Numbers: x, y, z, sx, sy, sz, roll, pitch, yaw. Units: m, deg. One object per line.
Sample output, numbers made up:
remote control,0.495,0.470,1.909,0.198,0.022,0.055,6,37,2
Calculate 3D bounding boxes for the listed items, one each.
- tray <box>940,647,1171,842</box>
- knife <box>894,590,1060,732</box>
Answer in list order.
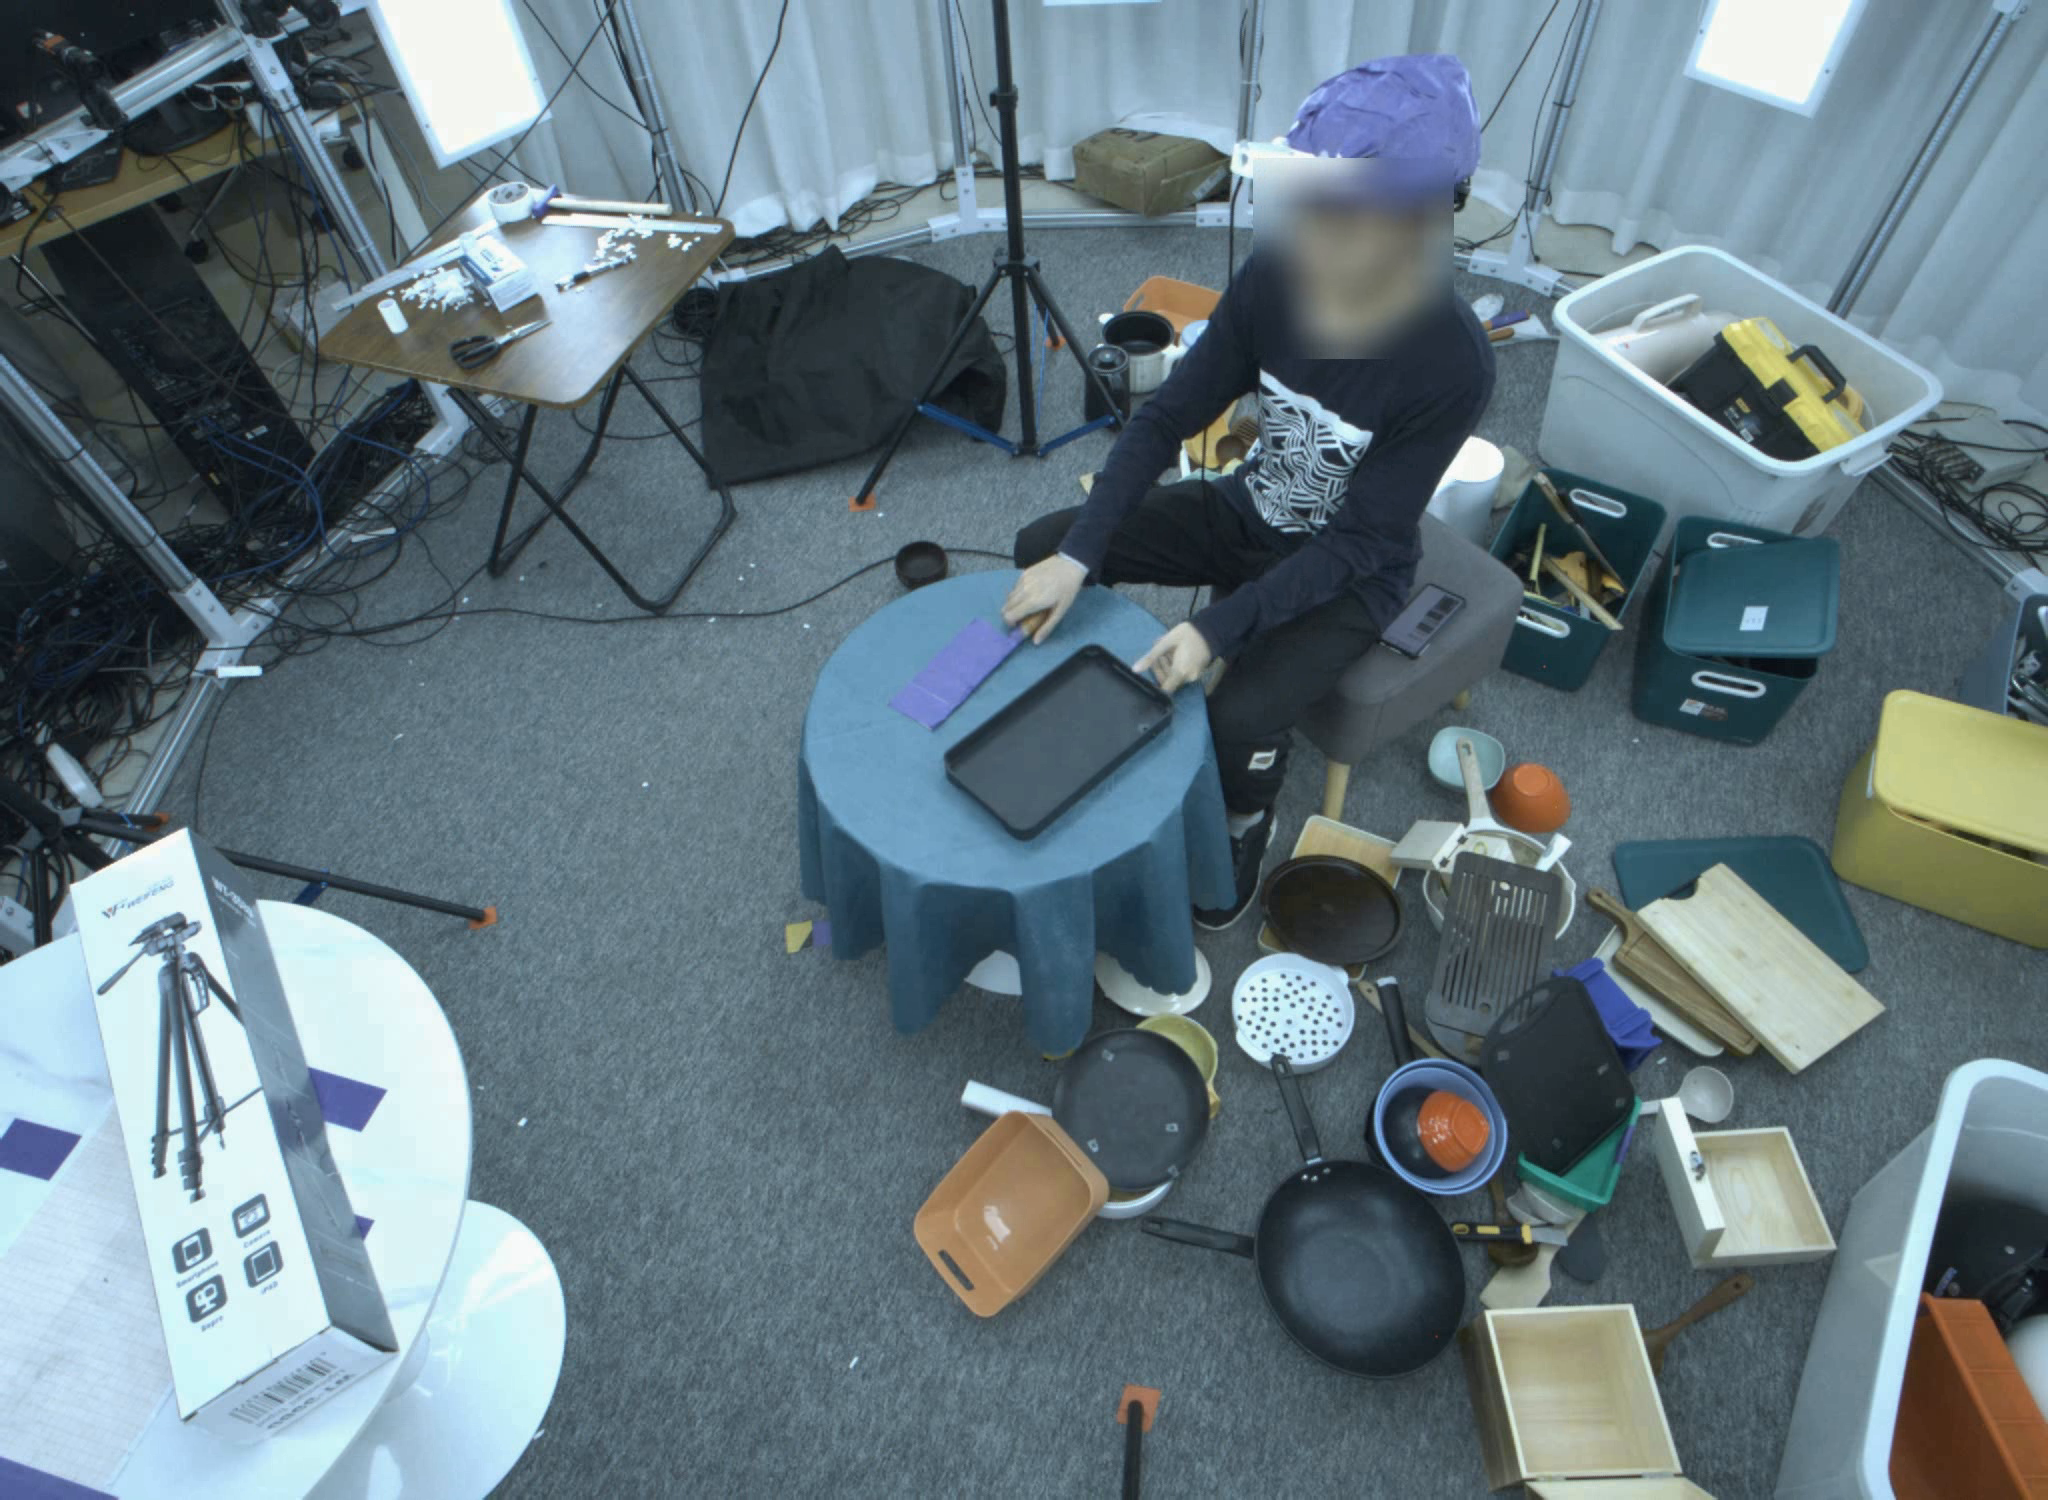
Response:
tray,0.048,-0.015,1.784,0.181,0.037,0.320,38,62,25
knife,-0.074,-0.155,1.891,0.102,0.032,0.317,32,62,22
